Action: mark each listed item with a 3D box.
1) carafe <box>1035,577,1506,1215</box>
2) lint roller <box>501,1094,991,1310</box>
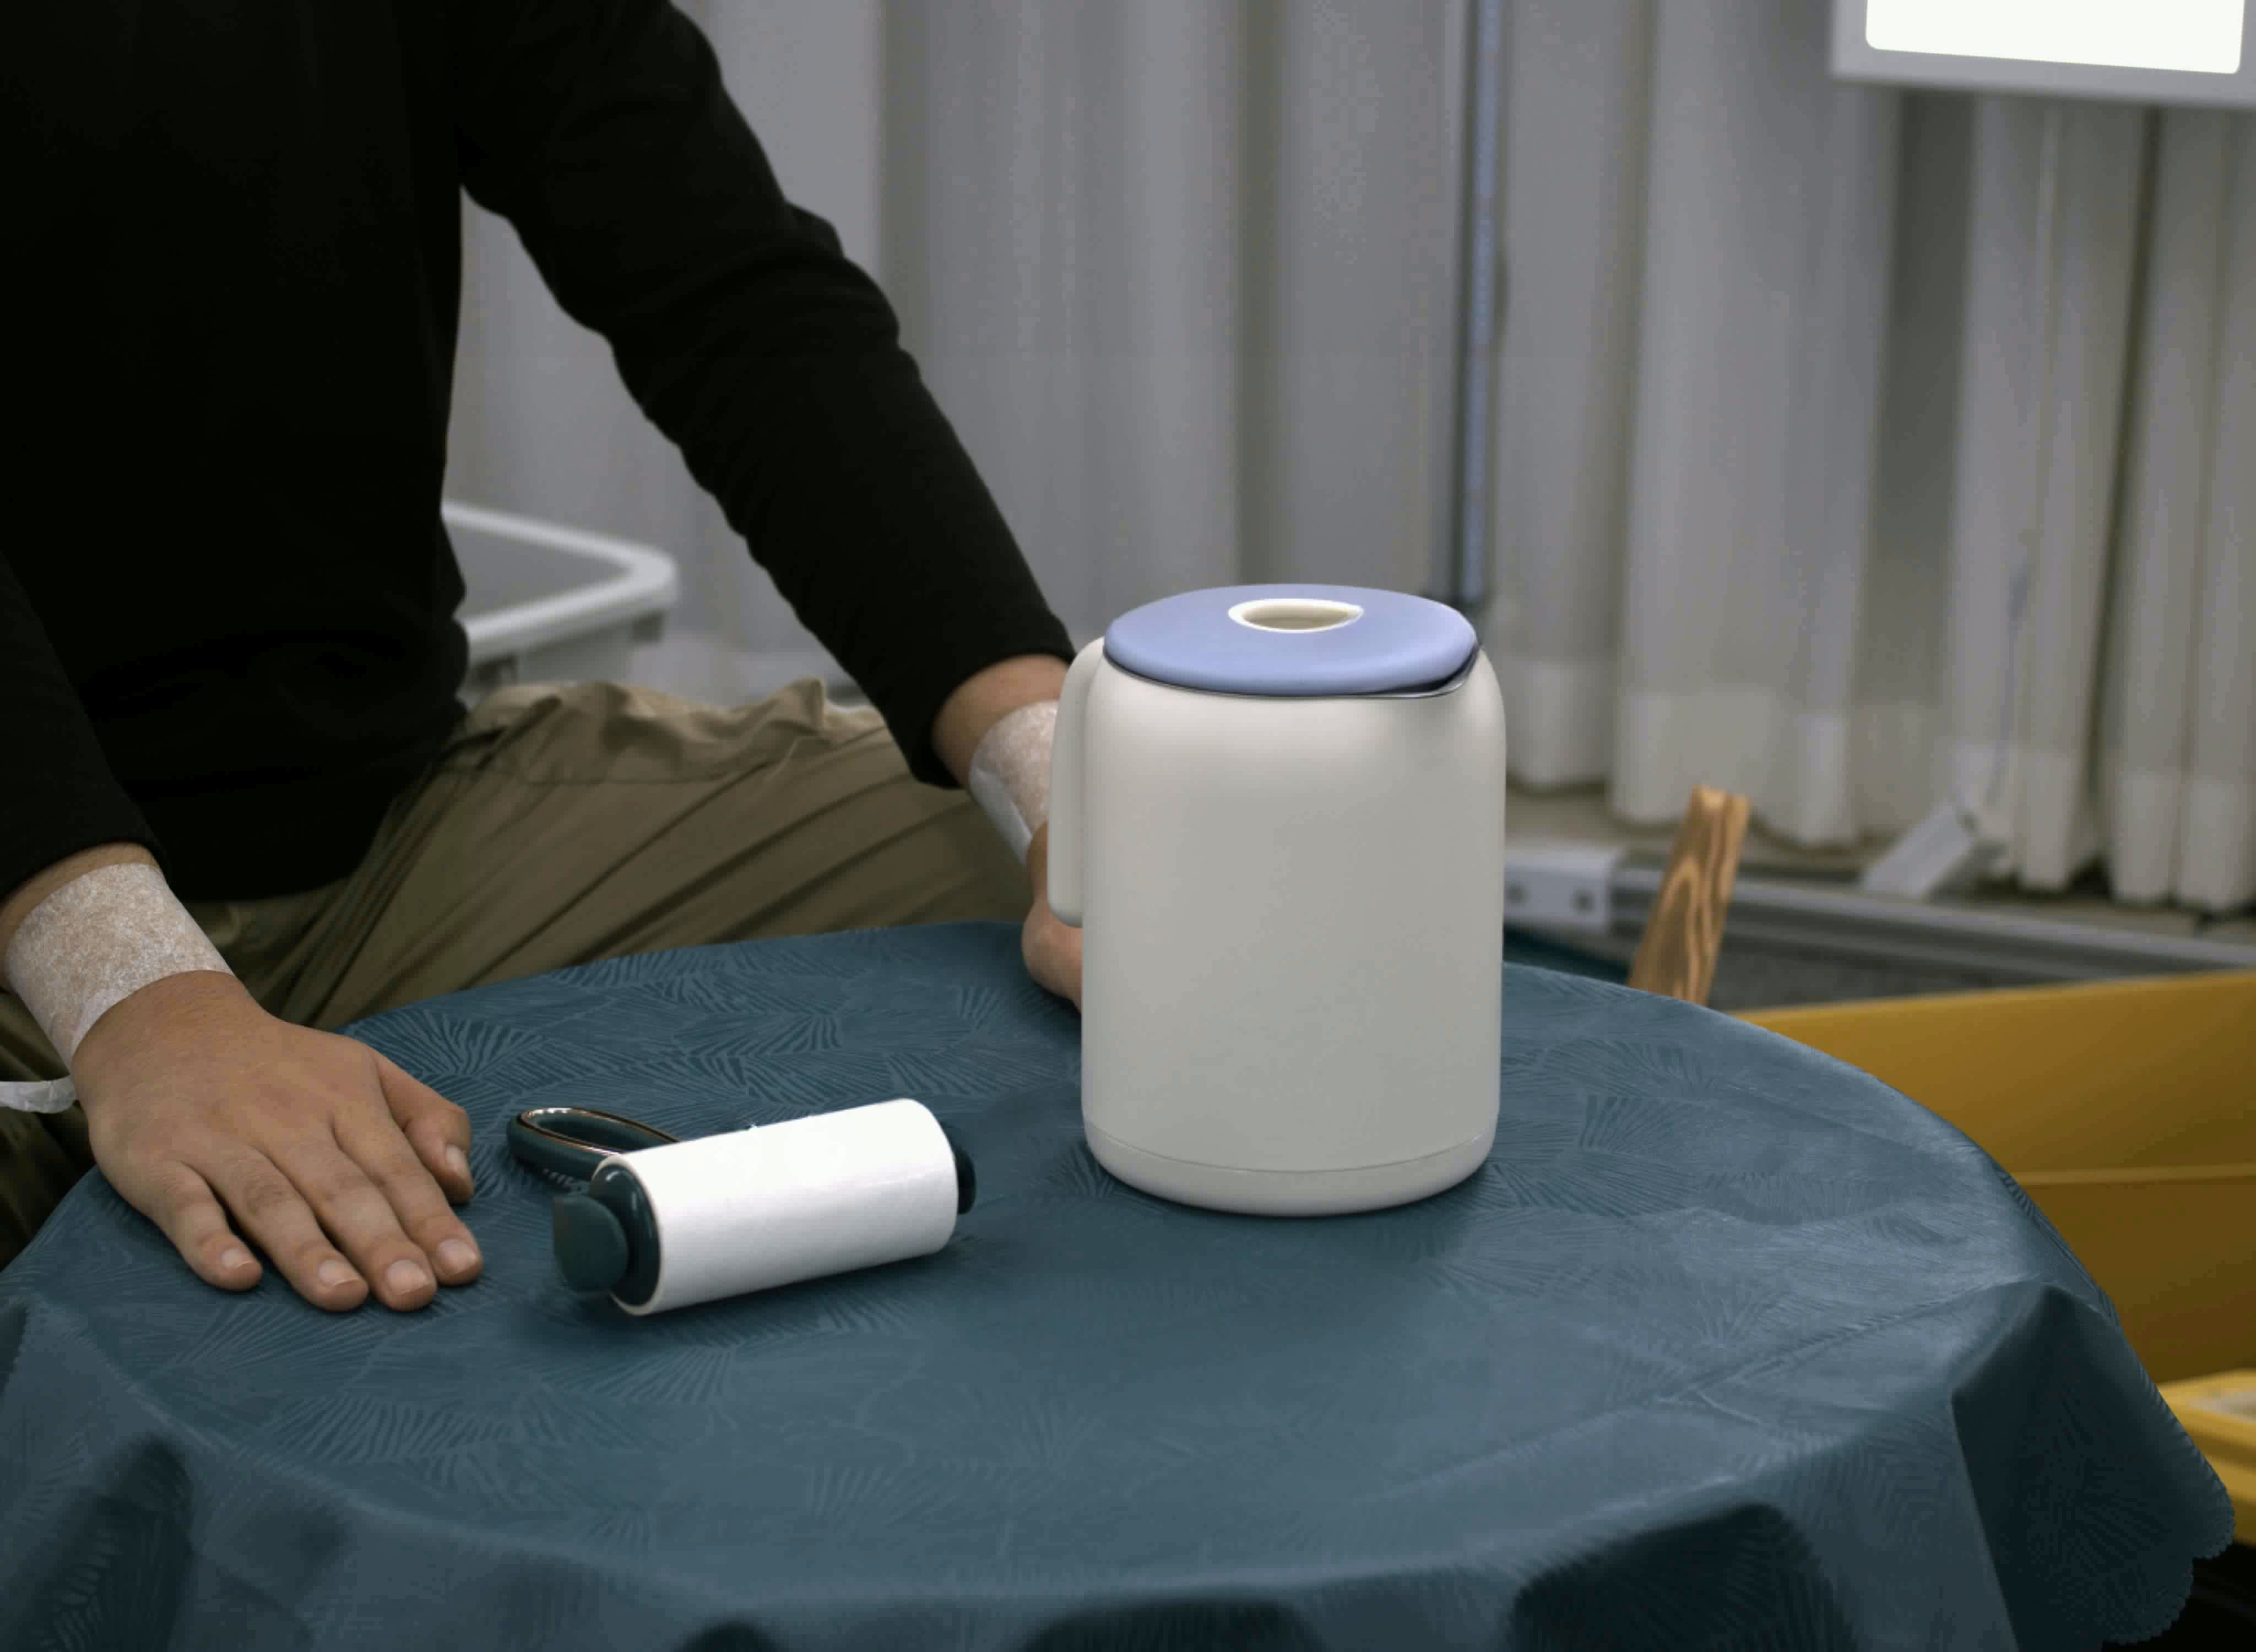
[{"bbox_3d":[0.036,0.016,1.647,0.133,0.184,0.188,-12,18,-38],"label":"carafe"},{"bbox_3d":[-0.141,0.099,1.589,0.135,0.048,0.178,-10,15,-33],"label":"lint roller"}]
